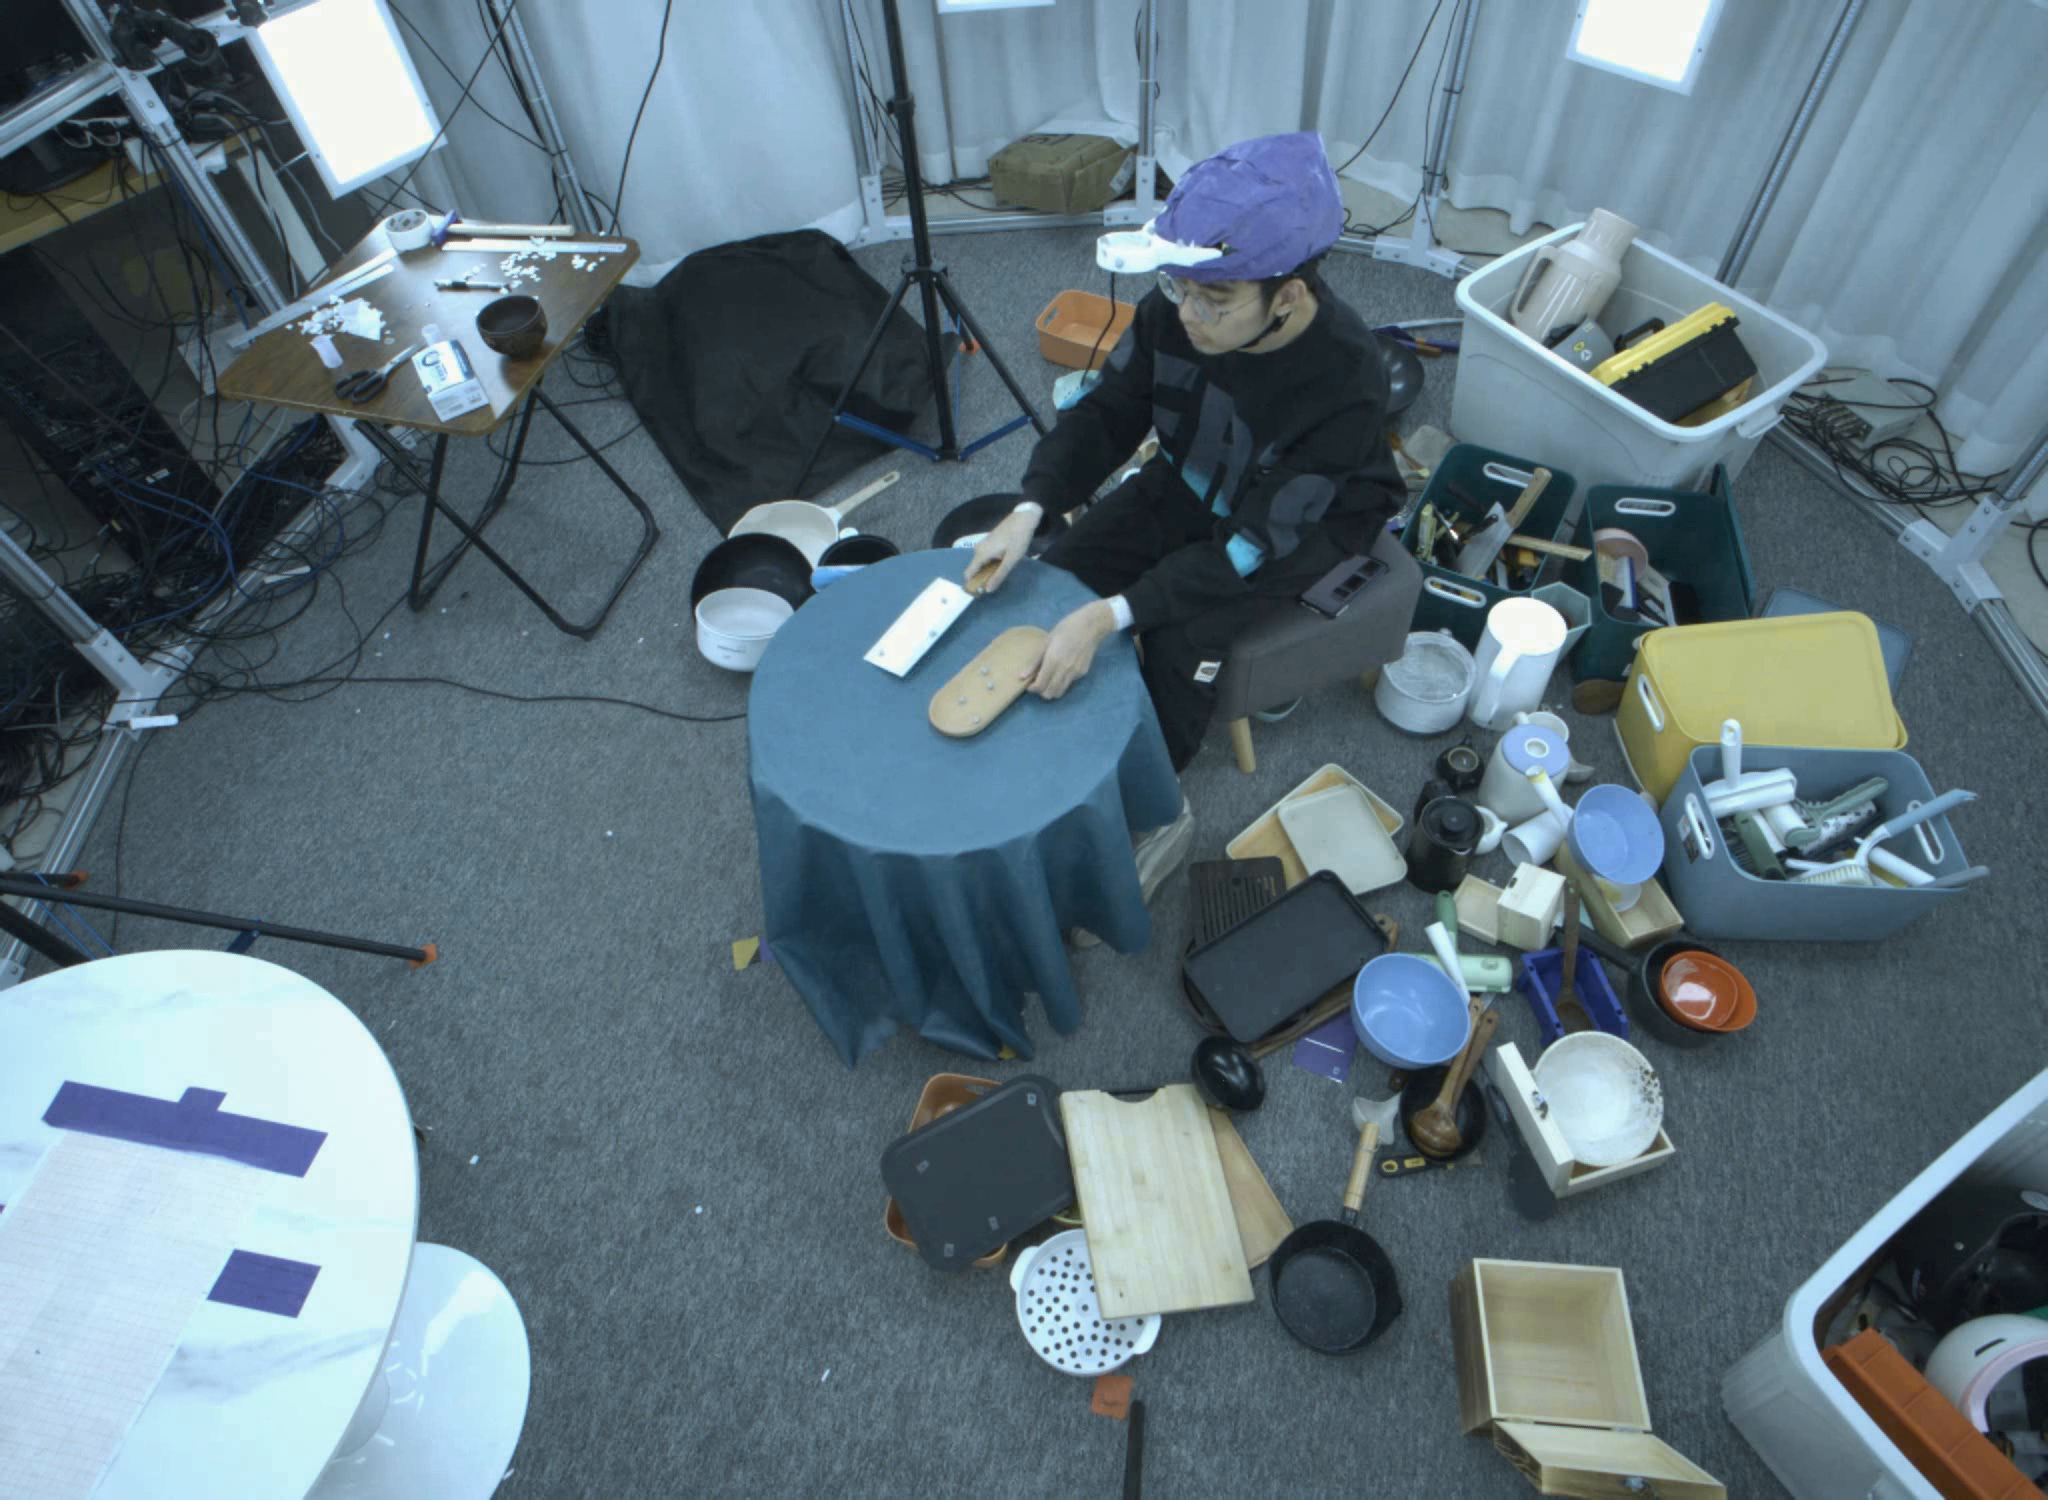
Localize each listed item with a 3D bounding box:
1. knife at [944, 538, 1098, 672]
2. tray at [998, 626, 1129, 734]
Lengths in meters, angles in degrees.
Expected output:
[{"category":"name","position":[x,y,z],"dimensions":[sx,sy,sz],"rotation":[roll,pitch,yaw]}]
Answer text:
[{"category":"knife","position":[-0.008,-0.239,1.928],"dimensions":[0.091,0.021,0.307],"rotation":[32,68,31]},{"category":"tray","position":[0.061,-0.105,1.838],"dimensions":[0.232,0.020,0.099],"rotation":[-39,58,-19]}]
